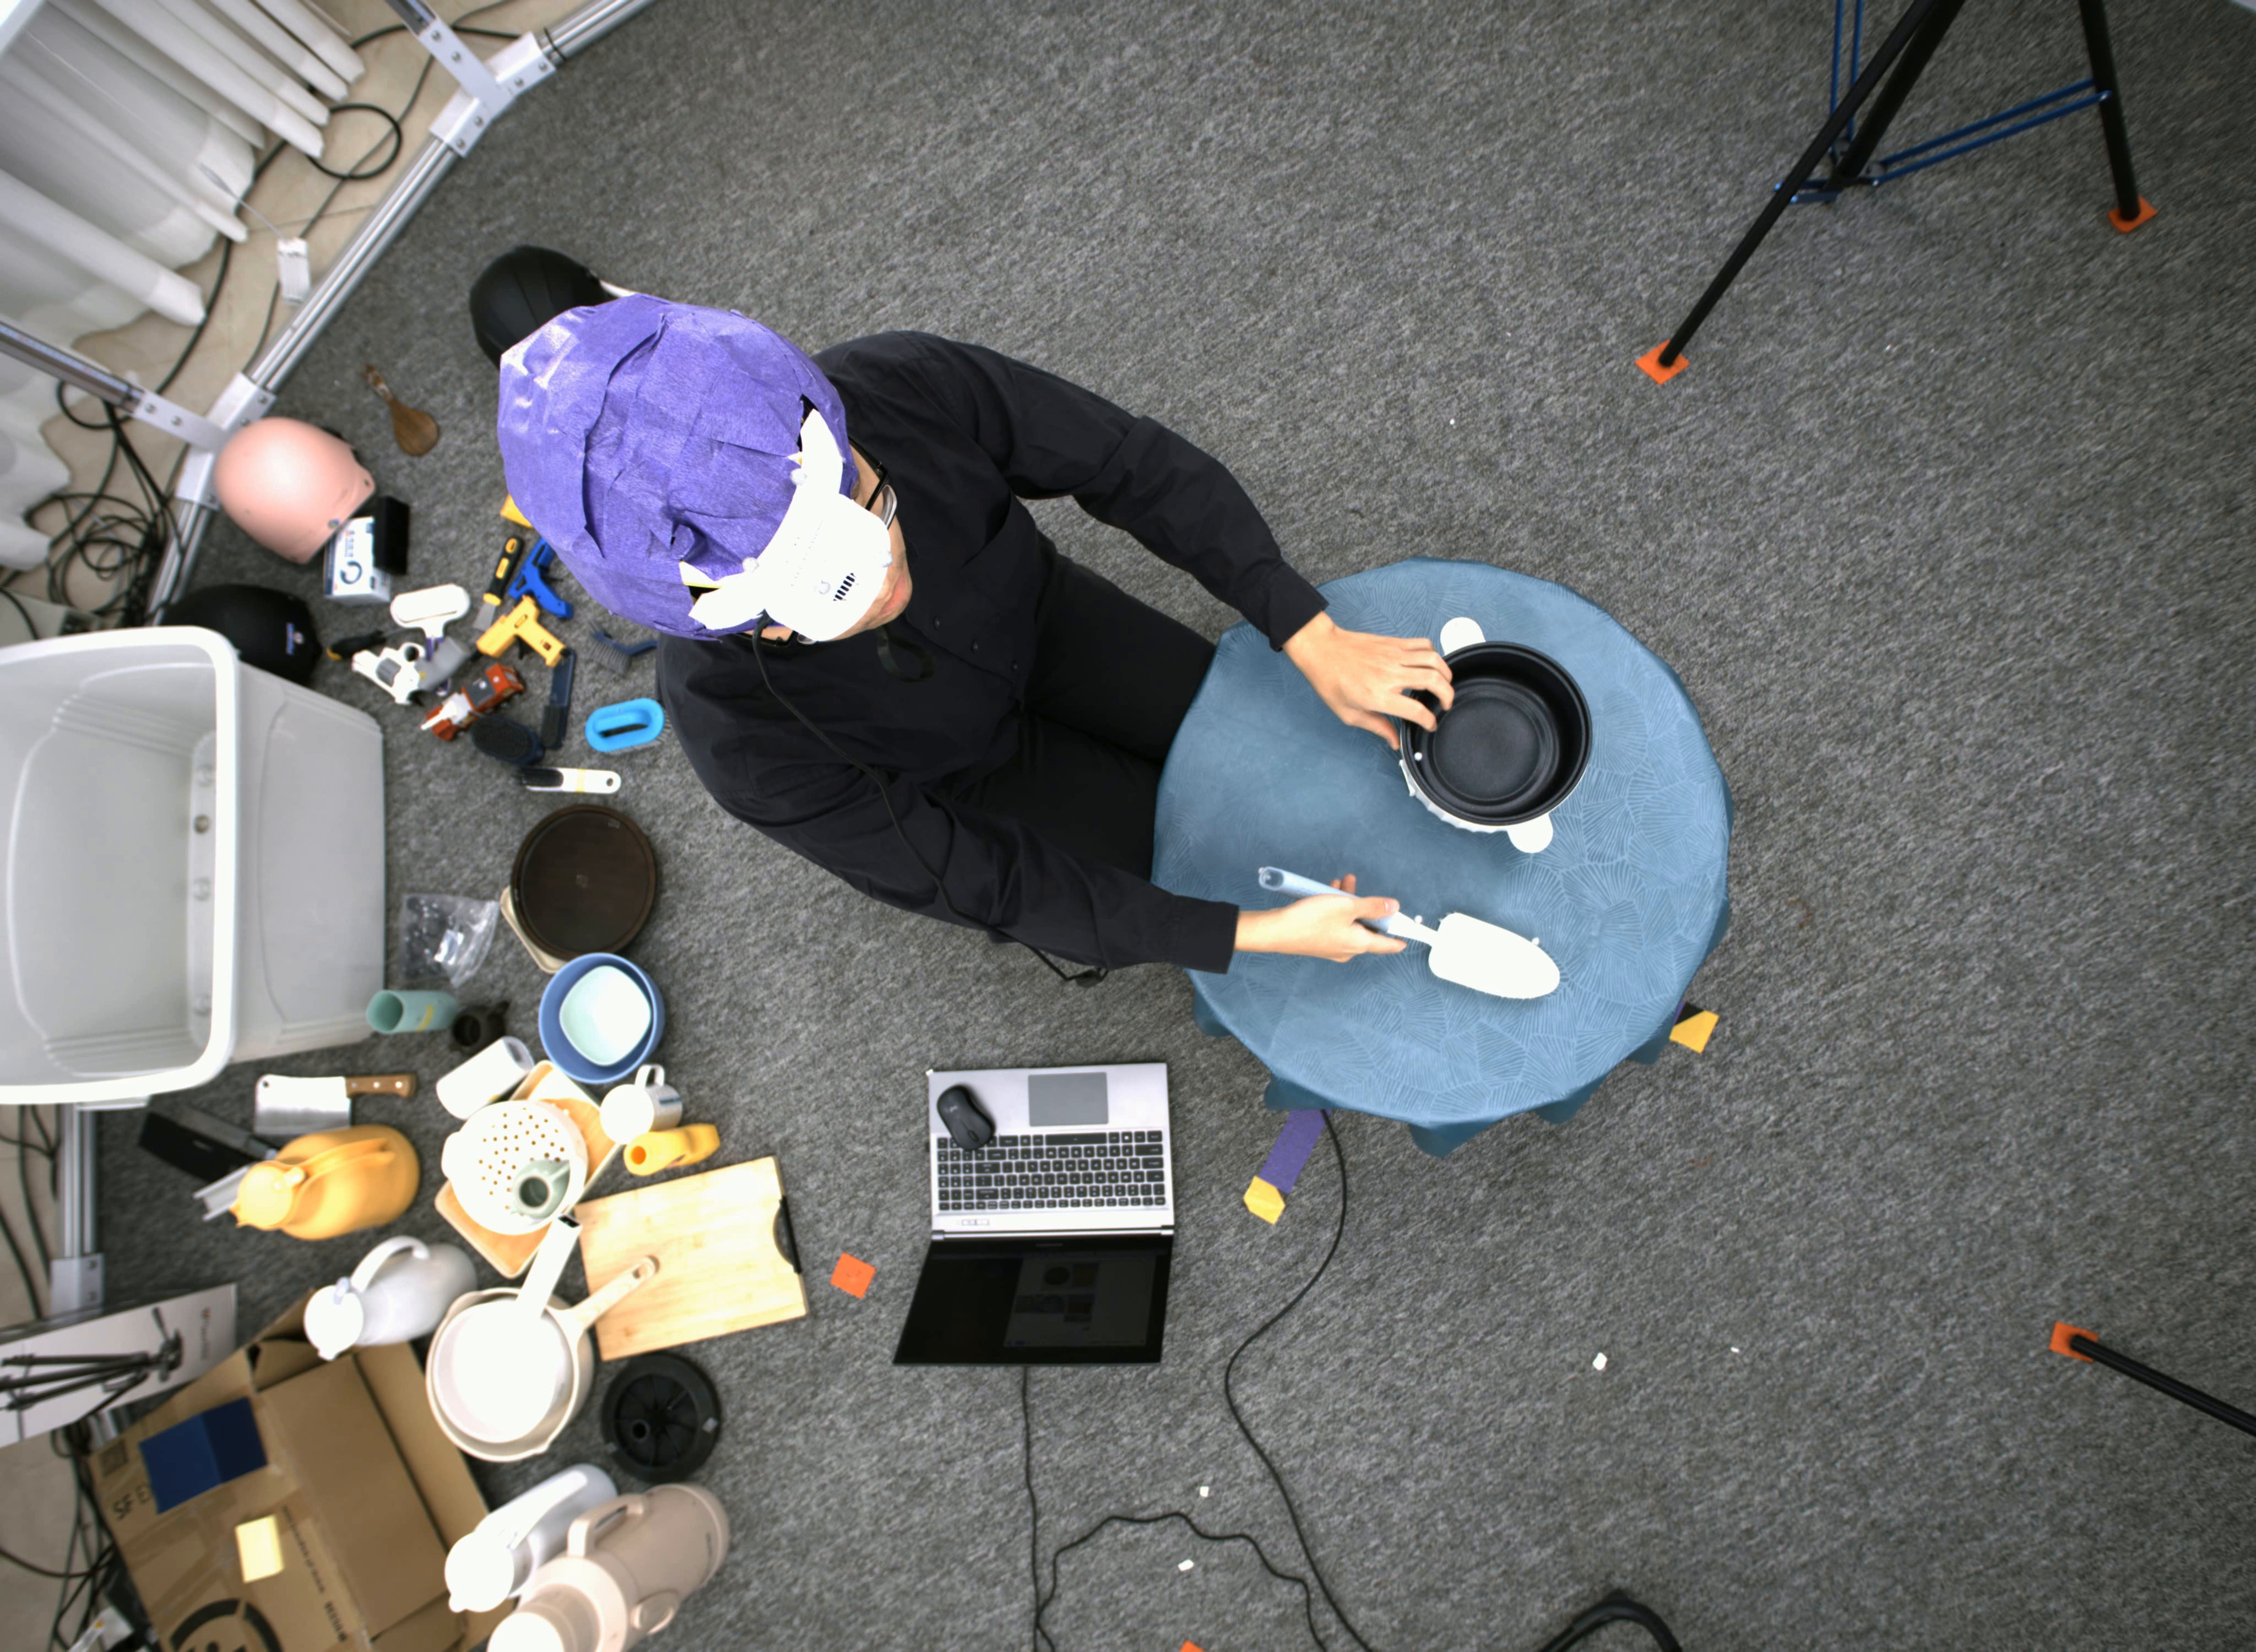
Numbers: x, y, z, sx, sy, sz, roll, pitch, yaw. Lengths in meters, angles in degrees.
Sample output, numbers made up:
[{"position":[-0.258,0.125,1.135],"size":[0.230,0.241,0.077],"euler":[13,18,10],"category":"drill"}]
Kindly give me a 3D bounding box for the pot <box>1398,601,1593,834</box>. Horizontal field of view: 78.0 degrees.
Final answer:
[{"position":[0.367,-0.104,1.374],"size":[0.192,0.142,0.239],"euler":[-20,84,10],"category":"pot"}]

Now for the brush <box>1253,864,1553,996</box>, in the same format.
[{"position":[0.280,0.097,1.412],"size":[0.326,0.087,0.081],"euler":[20,52,-1],"category":"brush"}]
